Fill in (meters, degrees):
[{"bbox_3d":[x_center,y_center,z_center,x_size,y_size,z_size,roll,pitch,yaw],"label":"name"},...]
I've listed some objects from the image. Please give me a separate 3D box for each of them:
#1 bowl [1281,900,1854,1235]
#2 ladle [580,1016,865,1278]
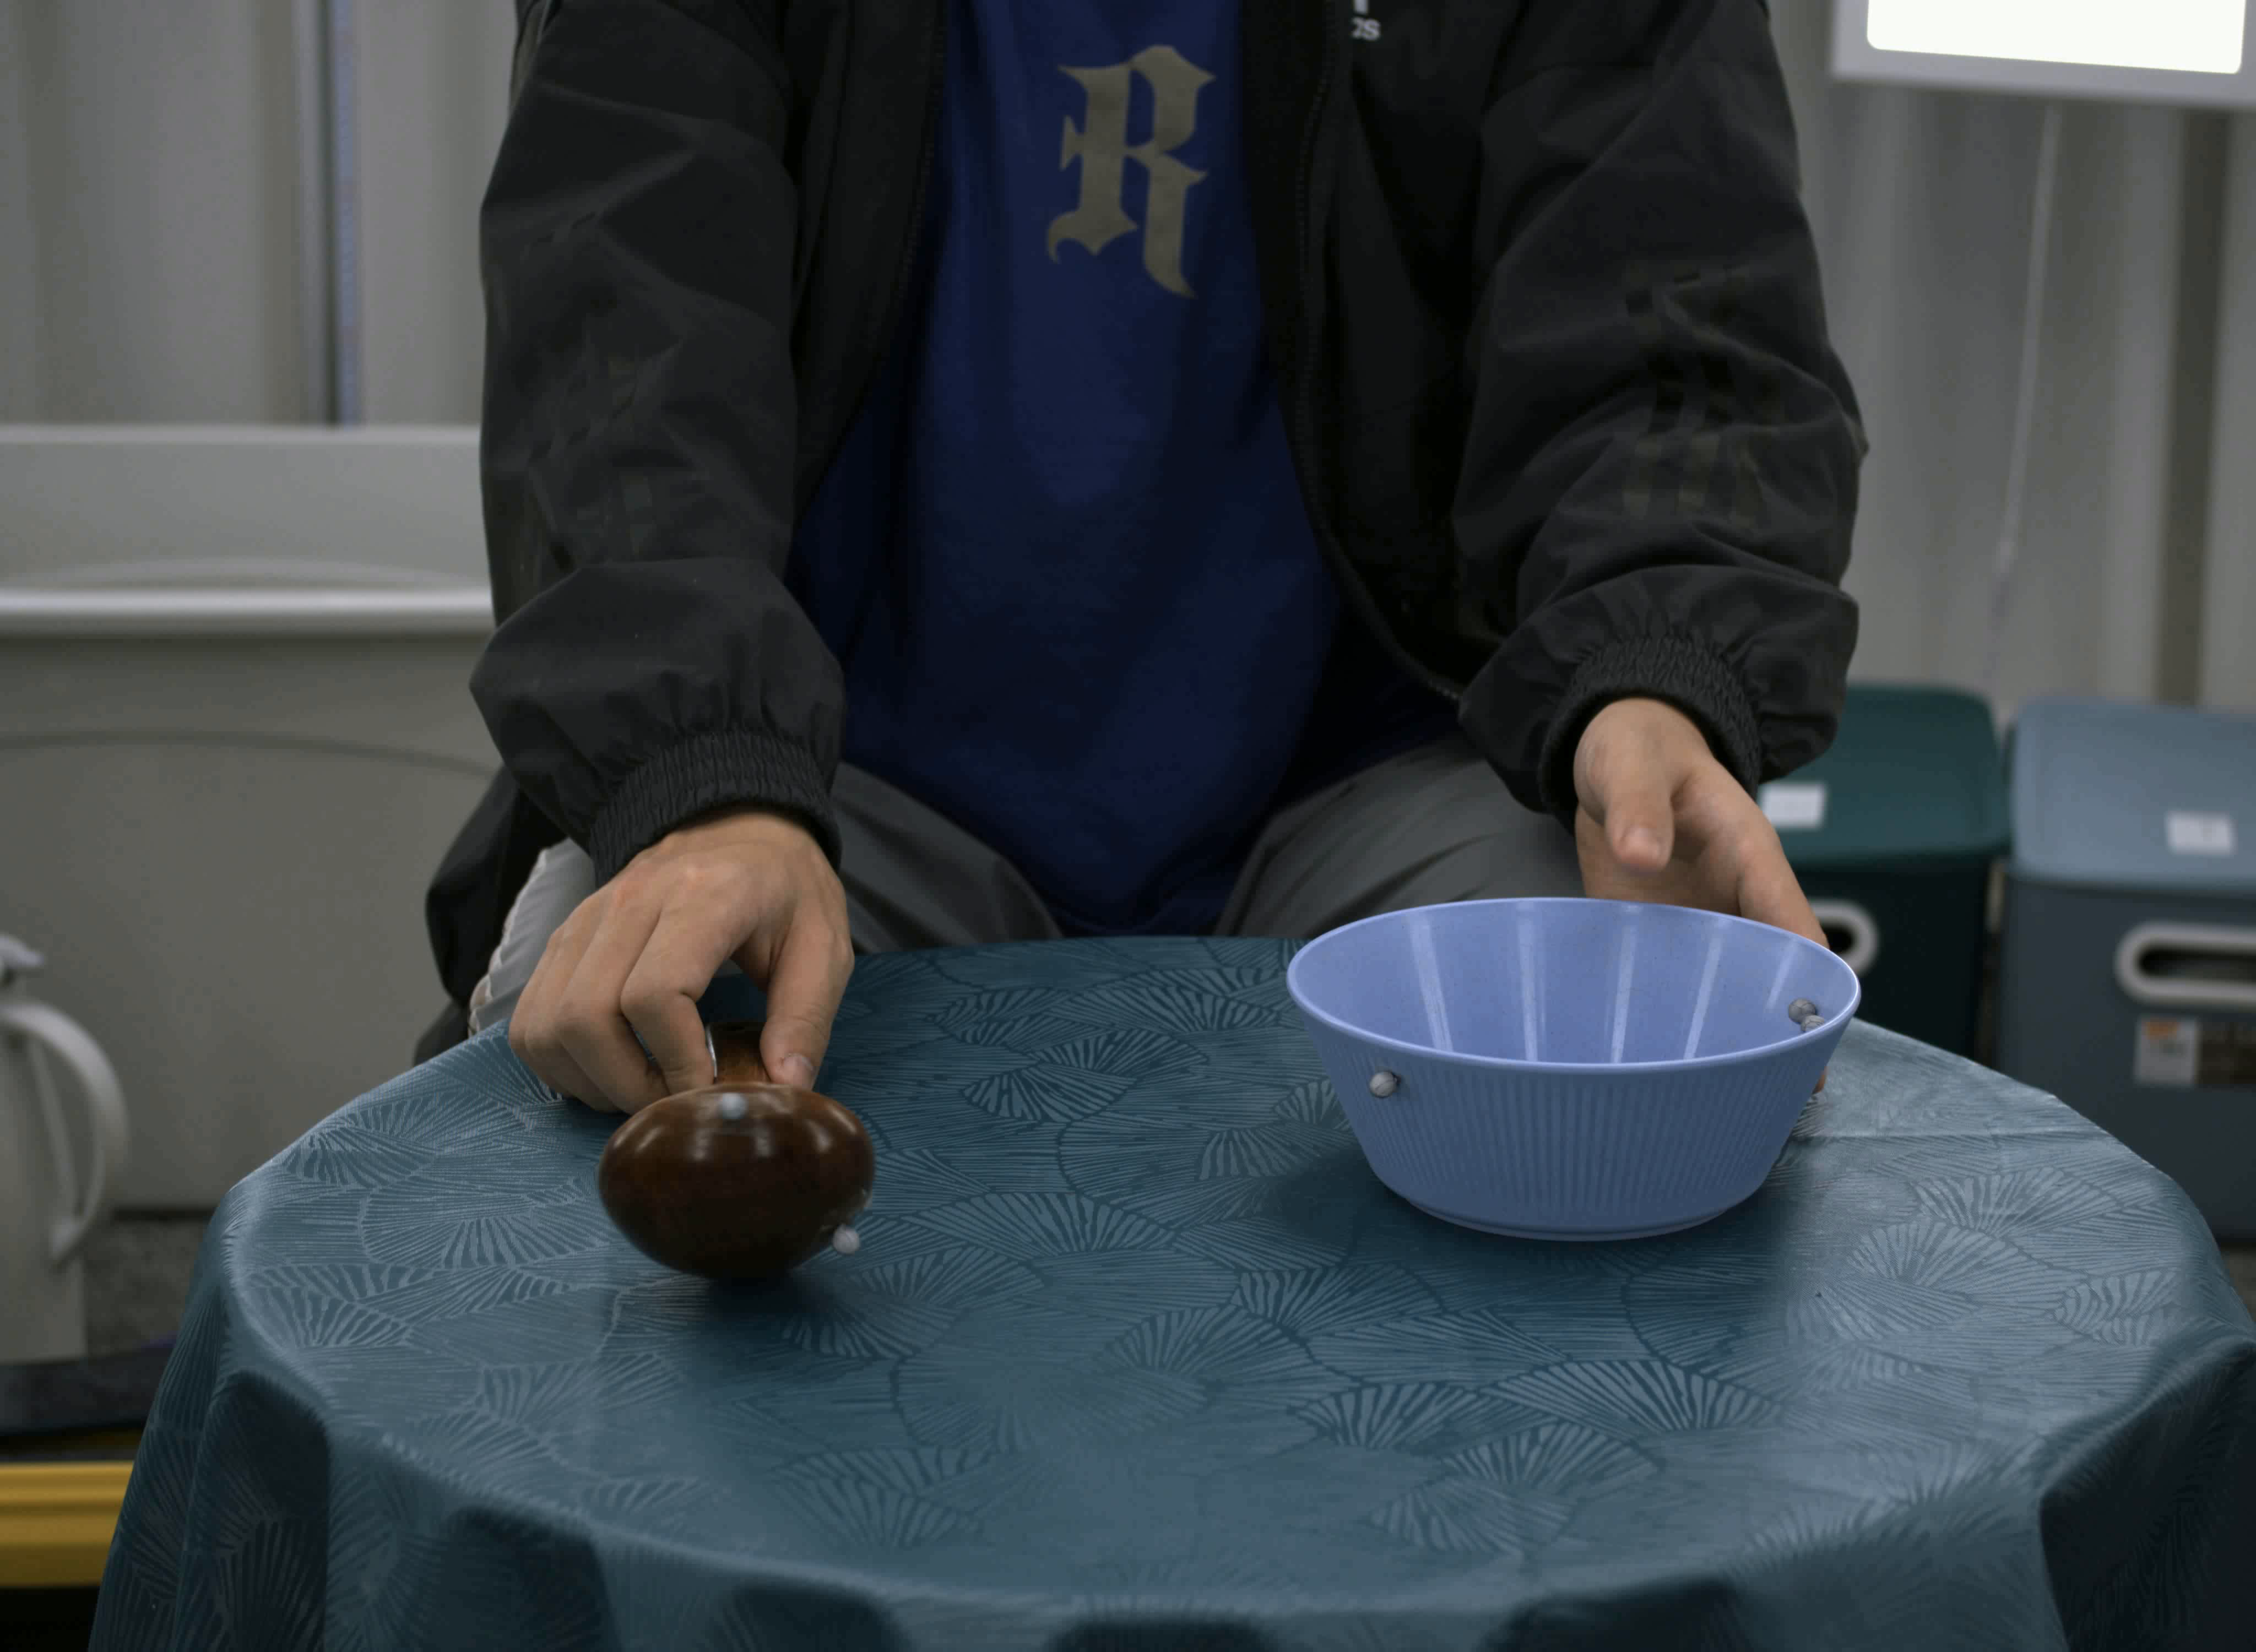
[{"bbox_3d":[0.134,0.077,1.624,0.175,0.071,0.175,1,15,0],"label":"bowl"},{"bbox_3d":[-0.121,0.073,1.613,0.082,0.077,0.272,0,16,-2],"label":"ladle"}]
